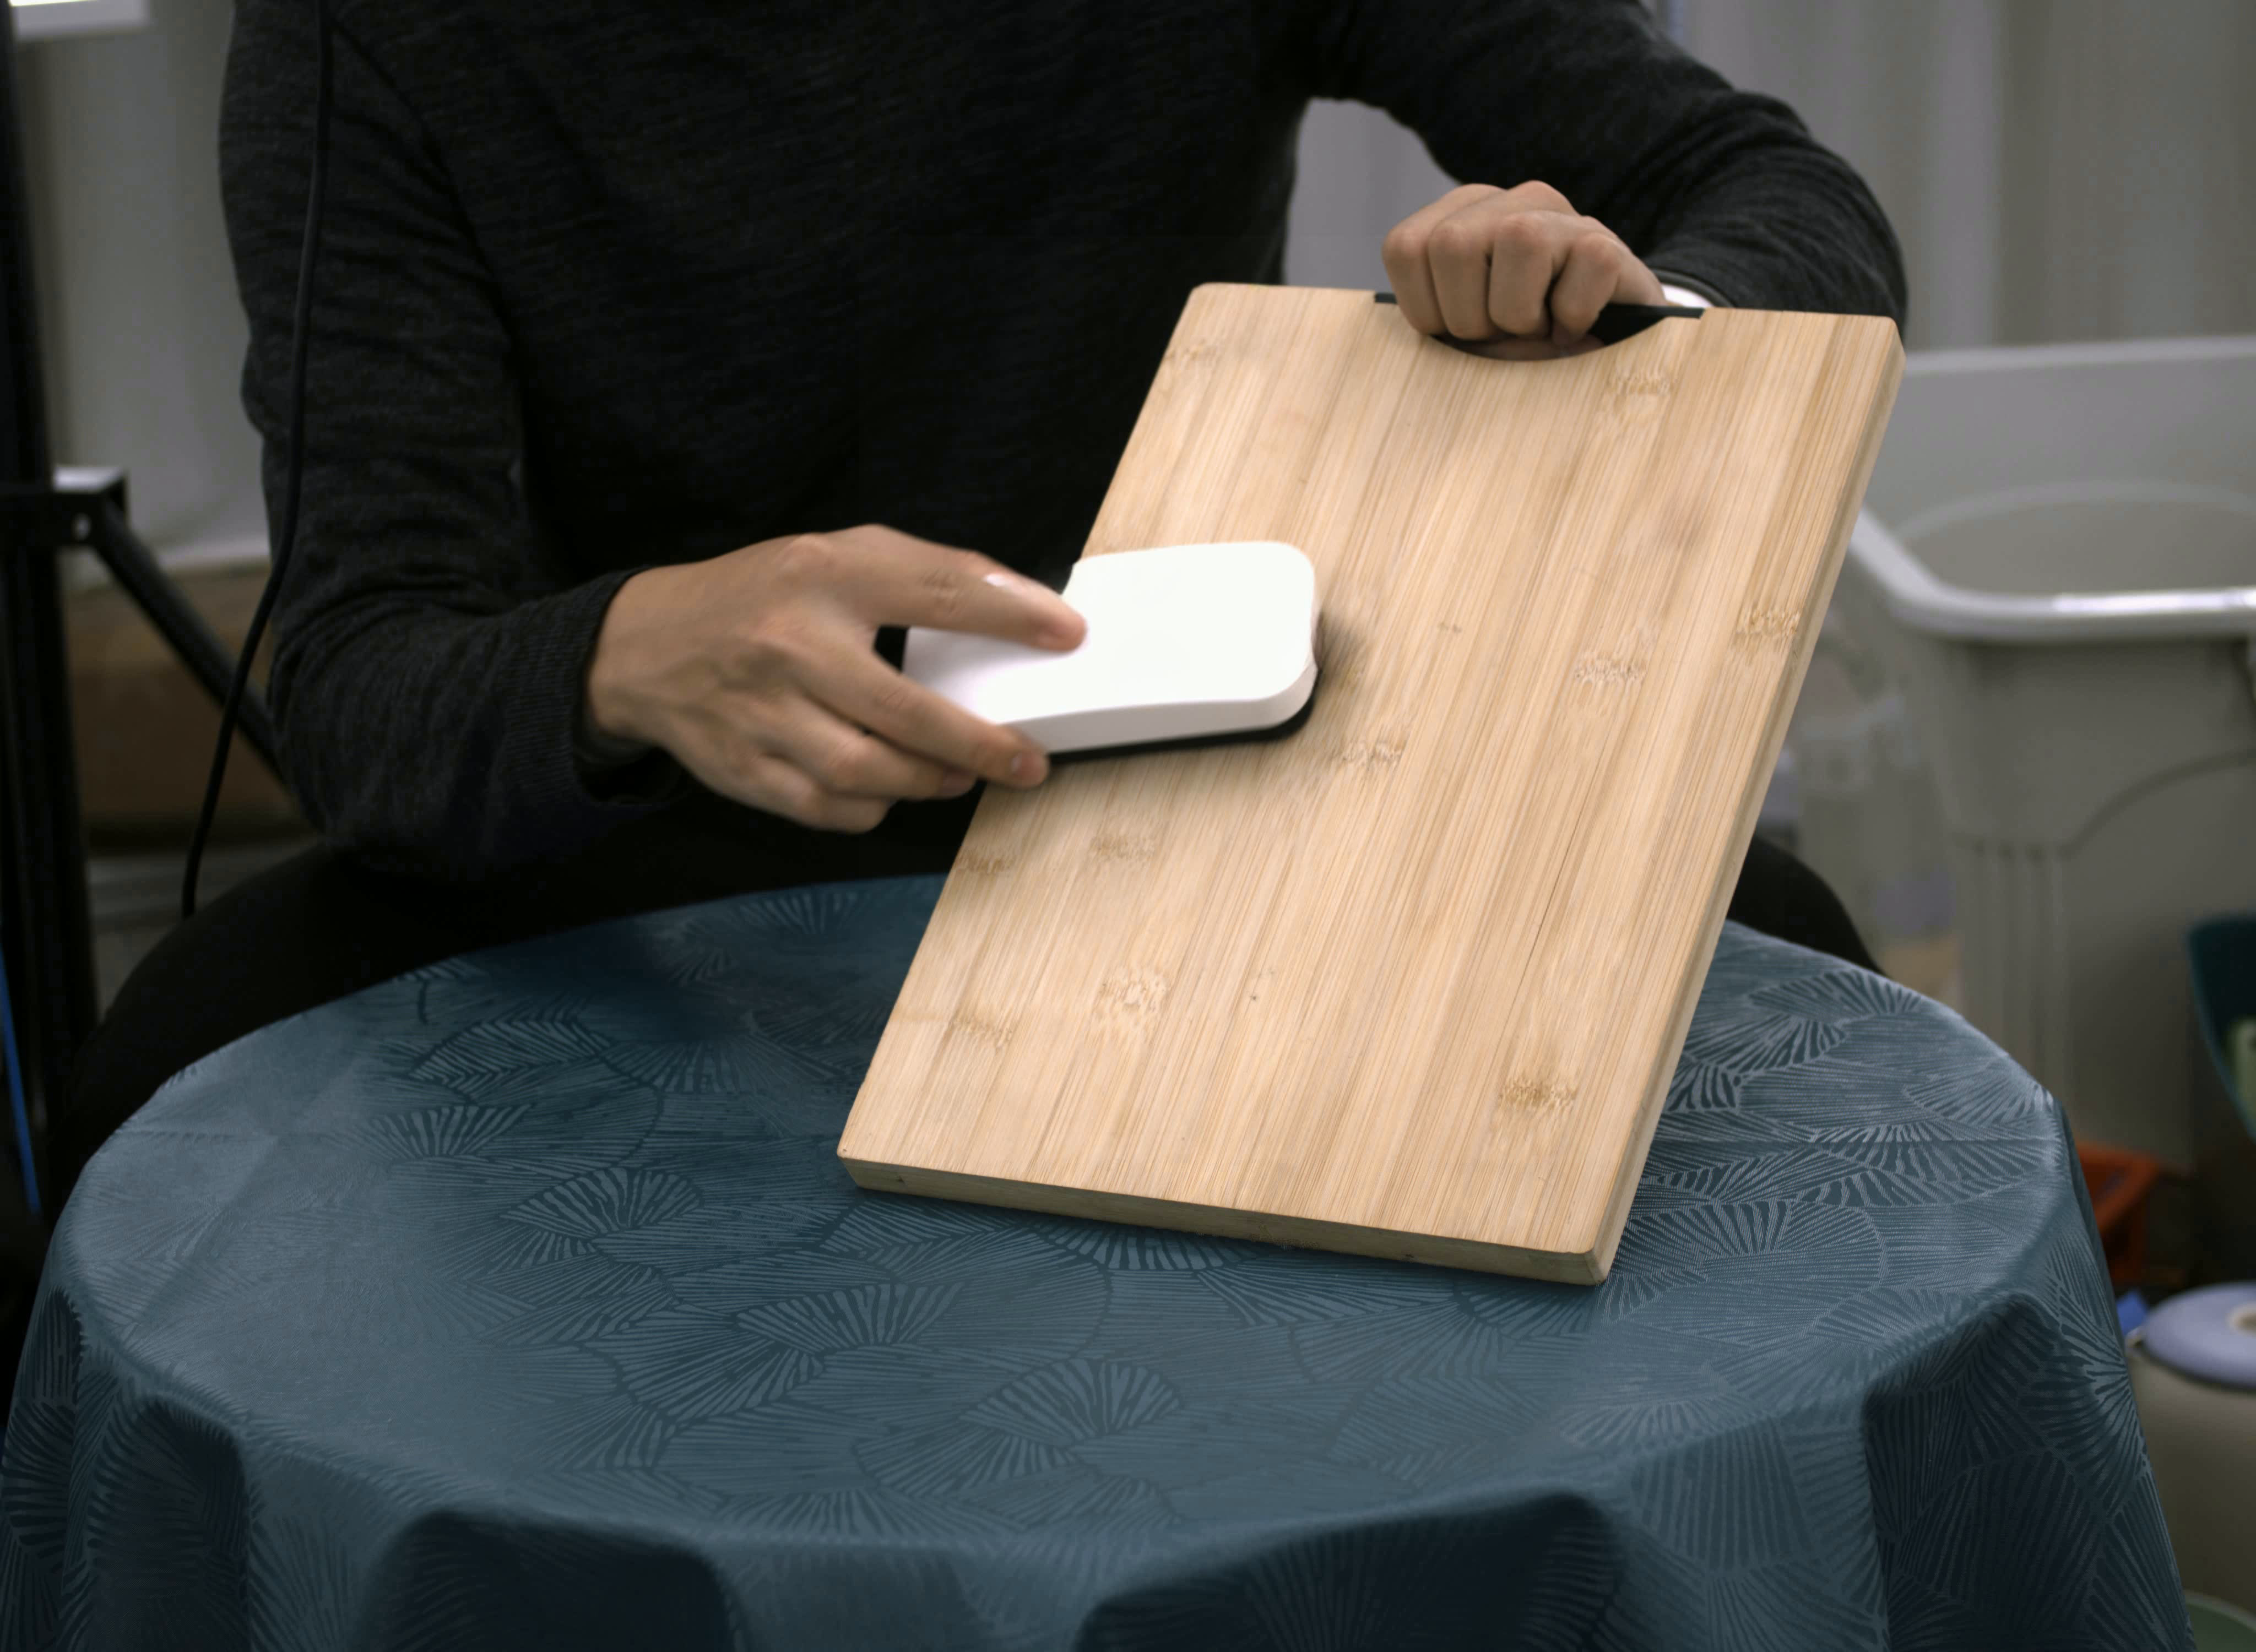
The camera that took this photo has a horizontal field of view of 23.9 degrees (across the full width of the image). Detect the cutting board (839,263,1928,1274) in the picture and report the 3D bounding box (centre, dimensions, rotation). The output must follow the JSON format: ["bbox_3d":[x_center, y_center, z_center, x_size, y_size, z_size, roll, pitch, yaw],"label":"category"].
[{"bbox_3d":[0.080,-0.028,1.600,0.255,0.023,0.349,5,56,27],"label":"cutting board"}]

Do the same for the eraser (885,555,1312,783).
[{"bbox_3d":[-0.009,-0.049,1.623,0.132,0.034,0.064,-5,51,19],"label":"eraser"}]
